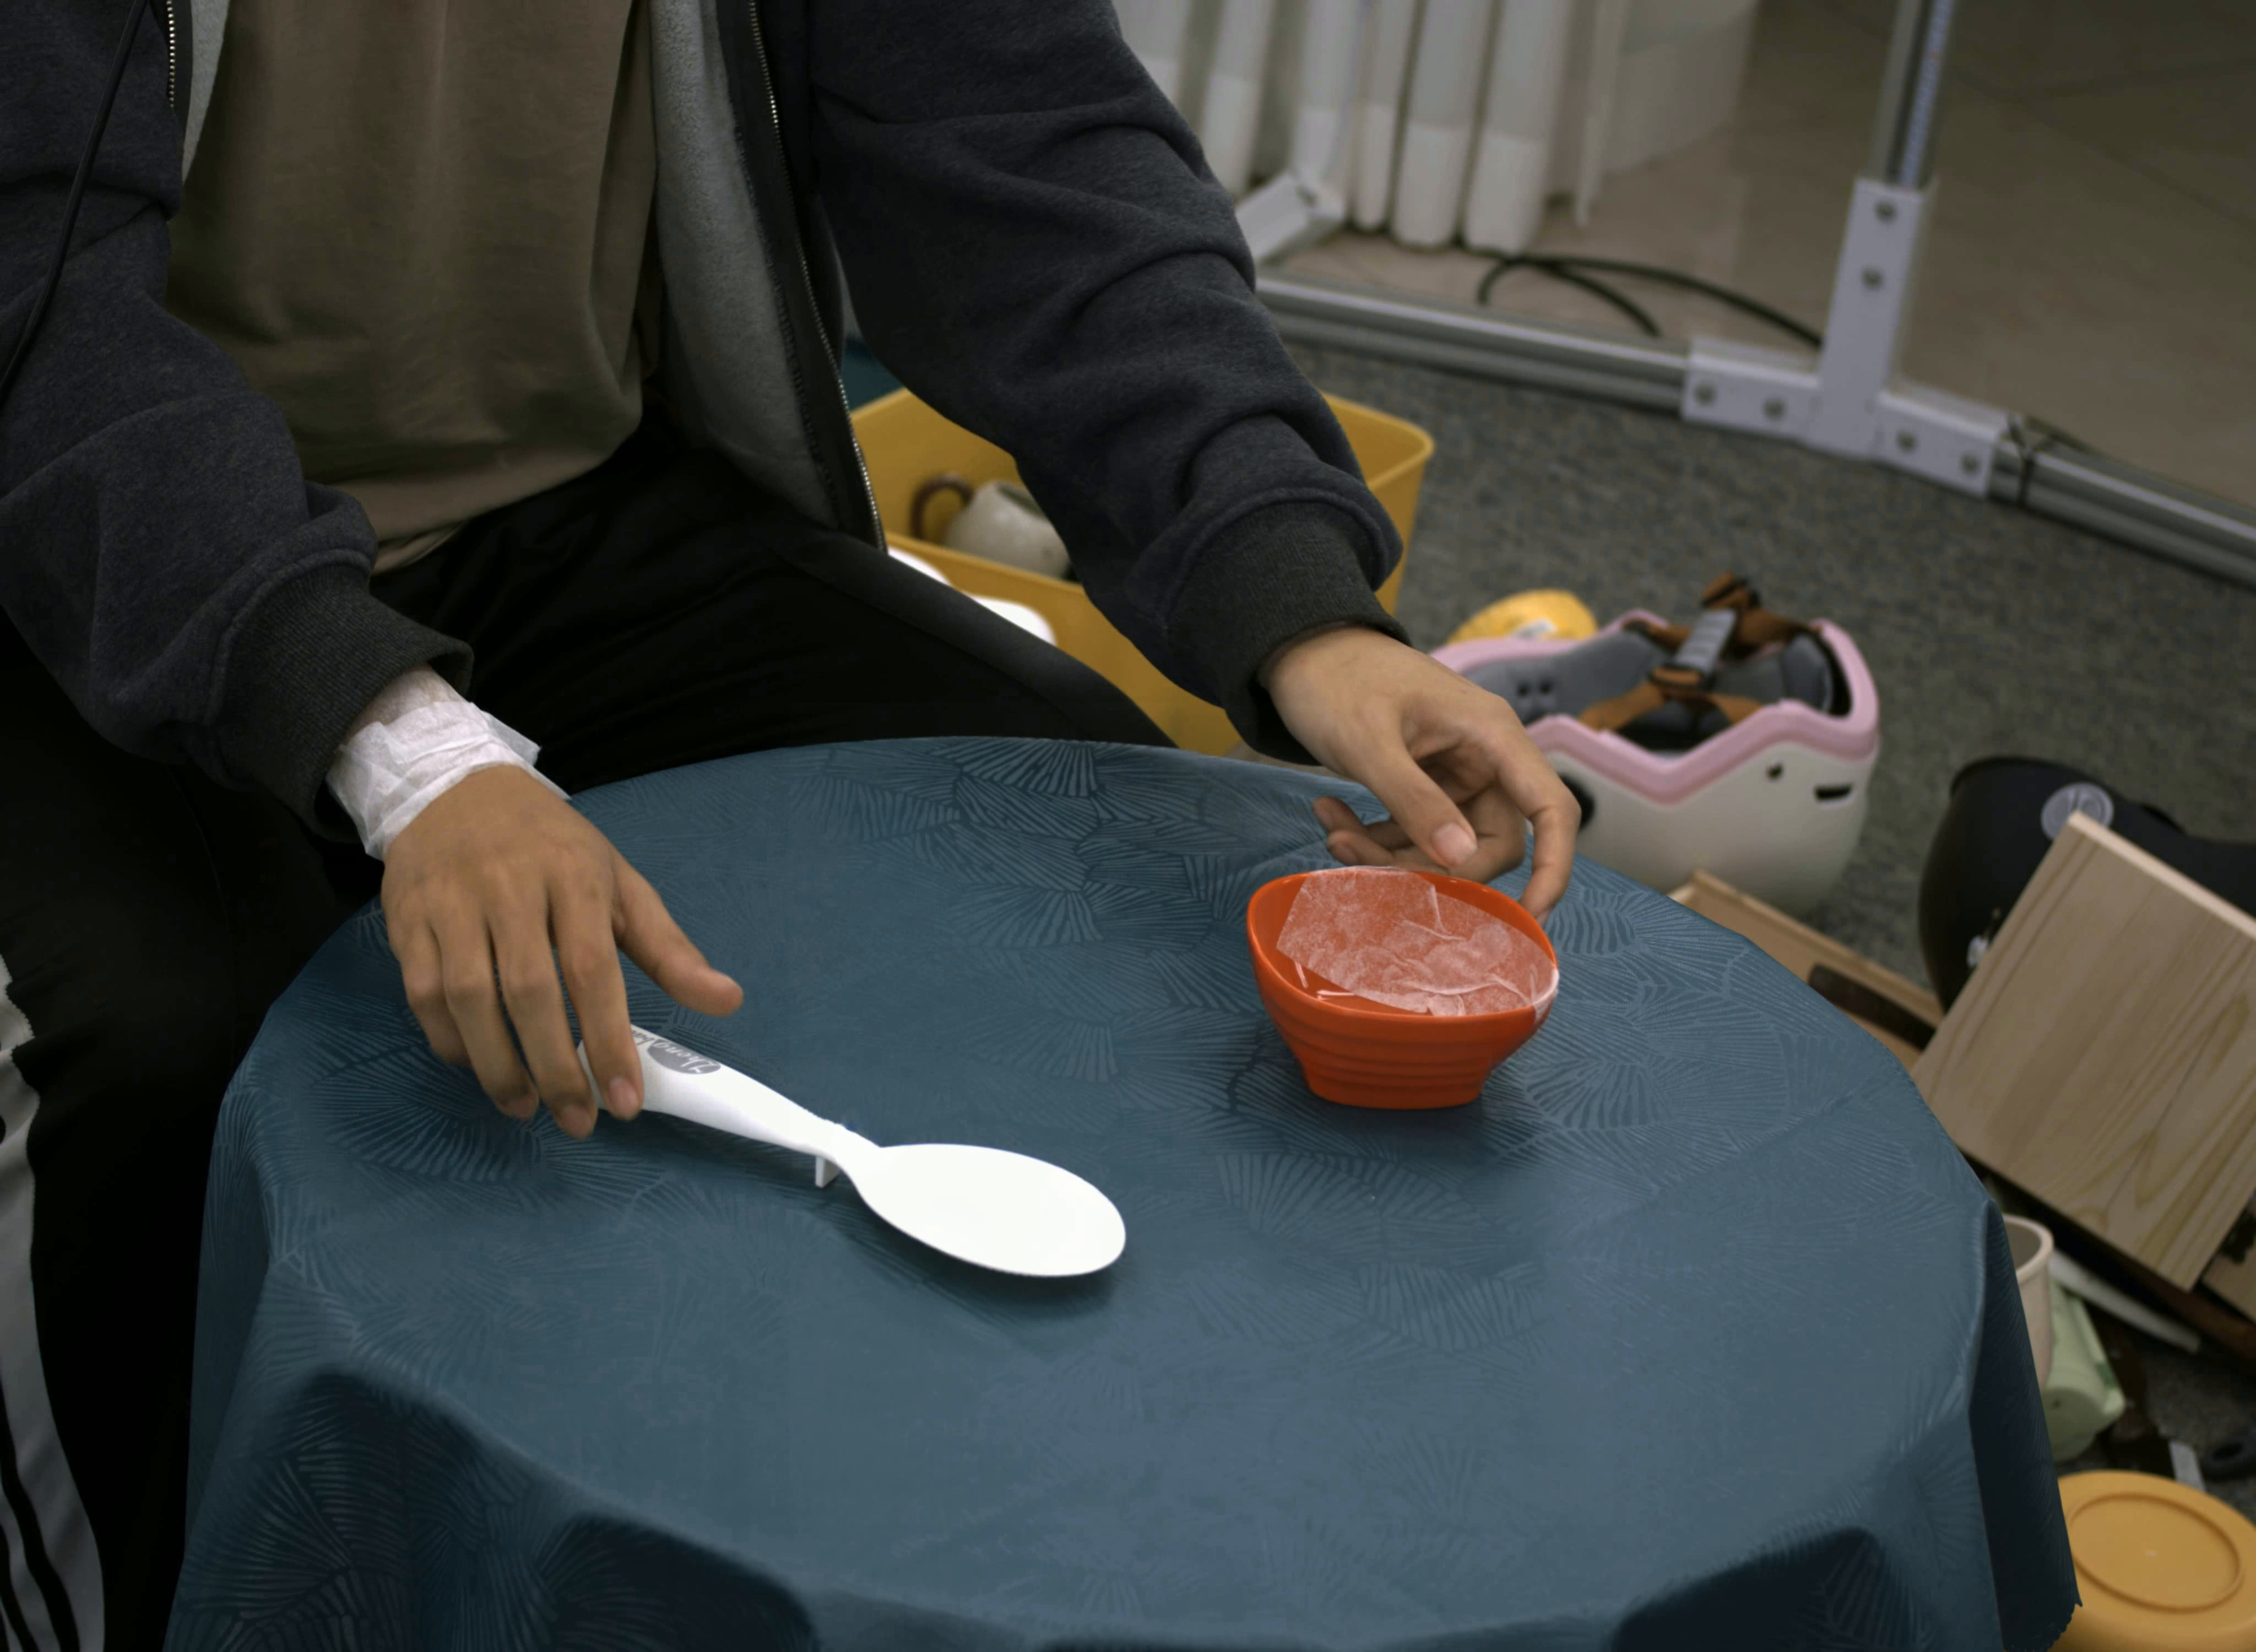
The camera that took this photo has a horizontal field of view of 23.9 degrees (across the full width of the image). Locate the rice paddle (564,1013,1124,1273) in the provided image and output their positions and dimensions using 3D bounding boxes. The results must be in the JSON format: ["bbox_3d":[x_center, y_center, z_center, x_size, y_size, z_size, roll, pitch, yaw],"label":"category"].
[{"bbox_3d":[-0.094,0.107,1.779,0.206,0.029,0.069,18,31,22],"label":"rice paddle"}]

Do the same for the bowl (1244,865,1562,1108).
[{"bbox_3d":[0.094,0.061,1.887,0.118,0.051,0.119,5,28,-3],"label":"bowl"}]
